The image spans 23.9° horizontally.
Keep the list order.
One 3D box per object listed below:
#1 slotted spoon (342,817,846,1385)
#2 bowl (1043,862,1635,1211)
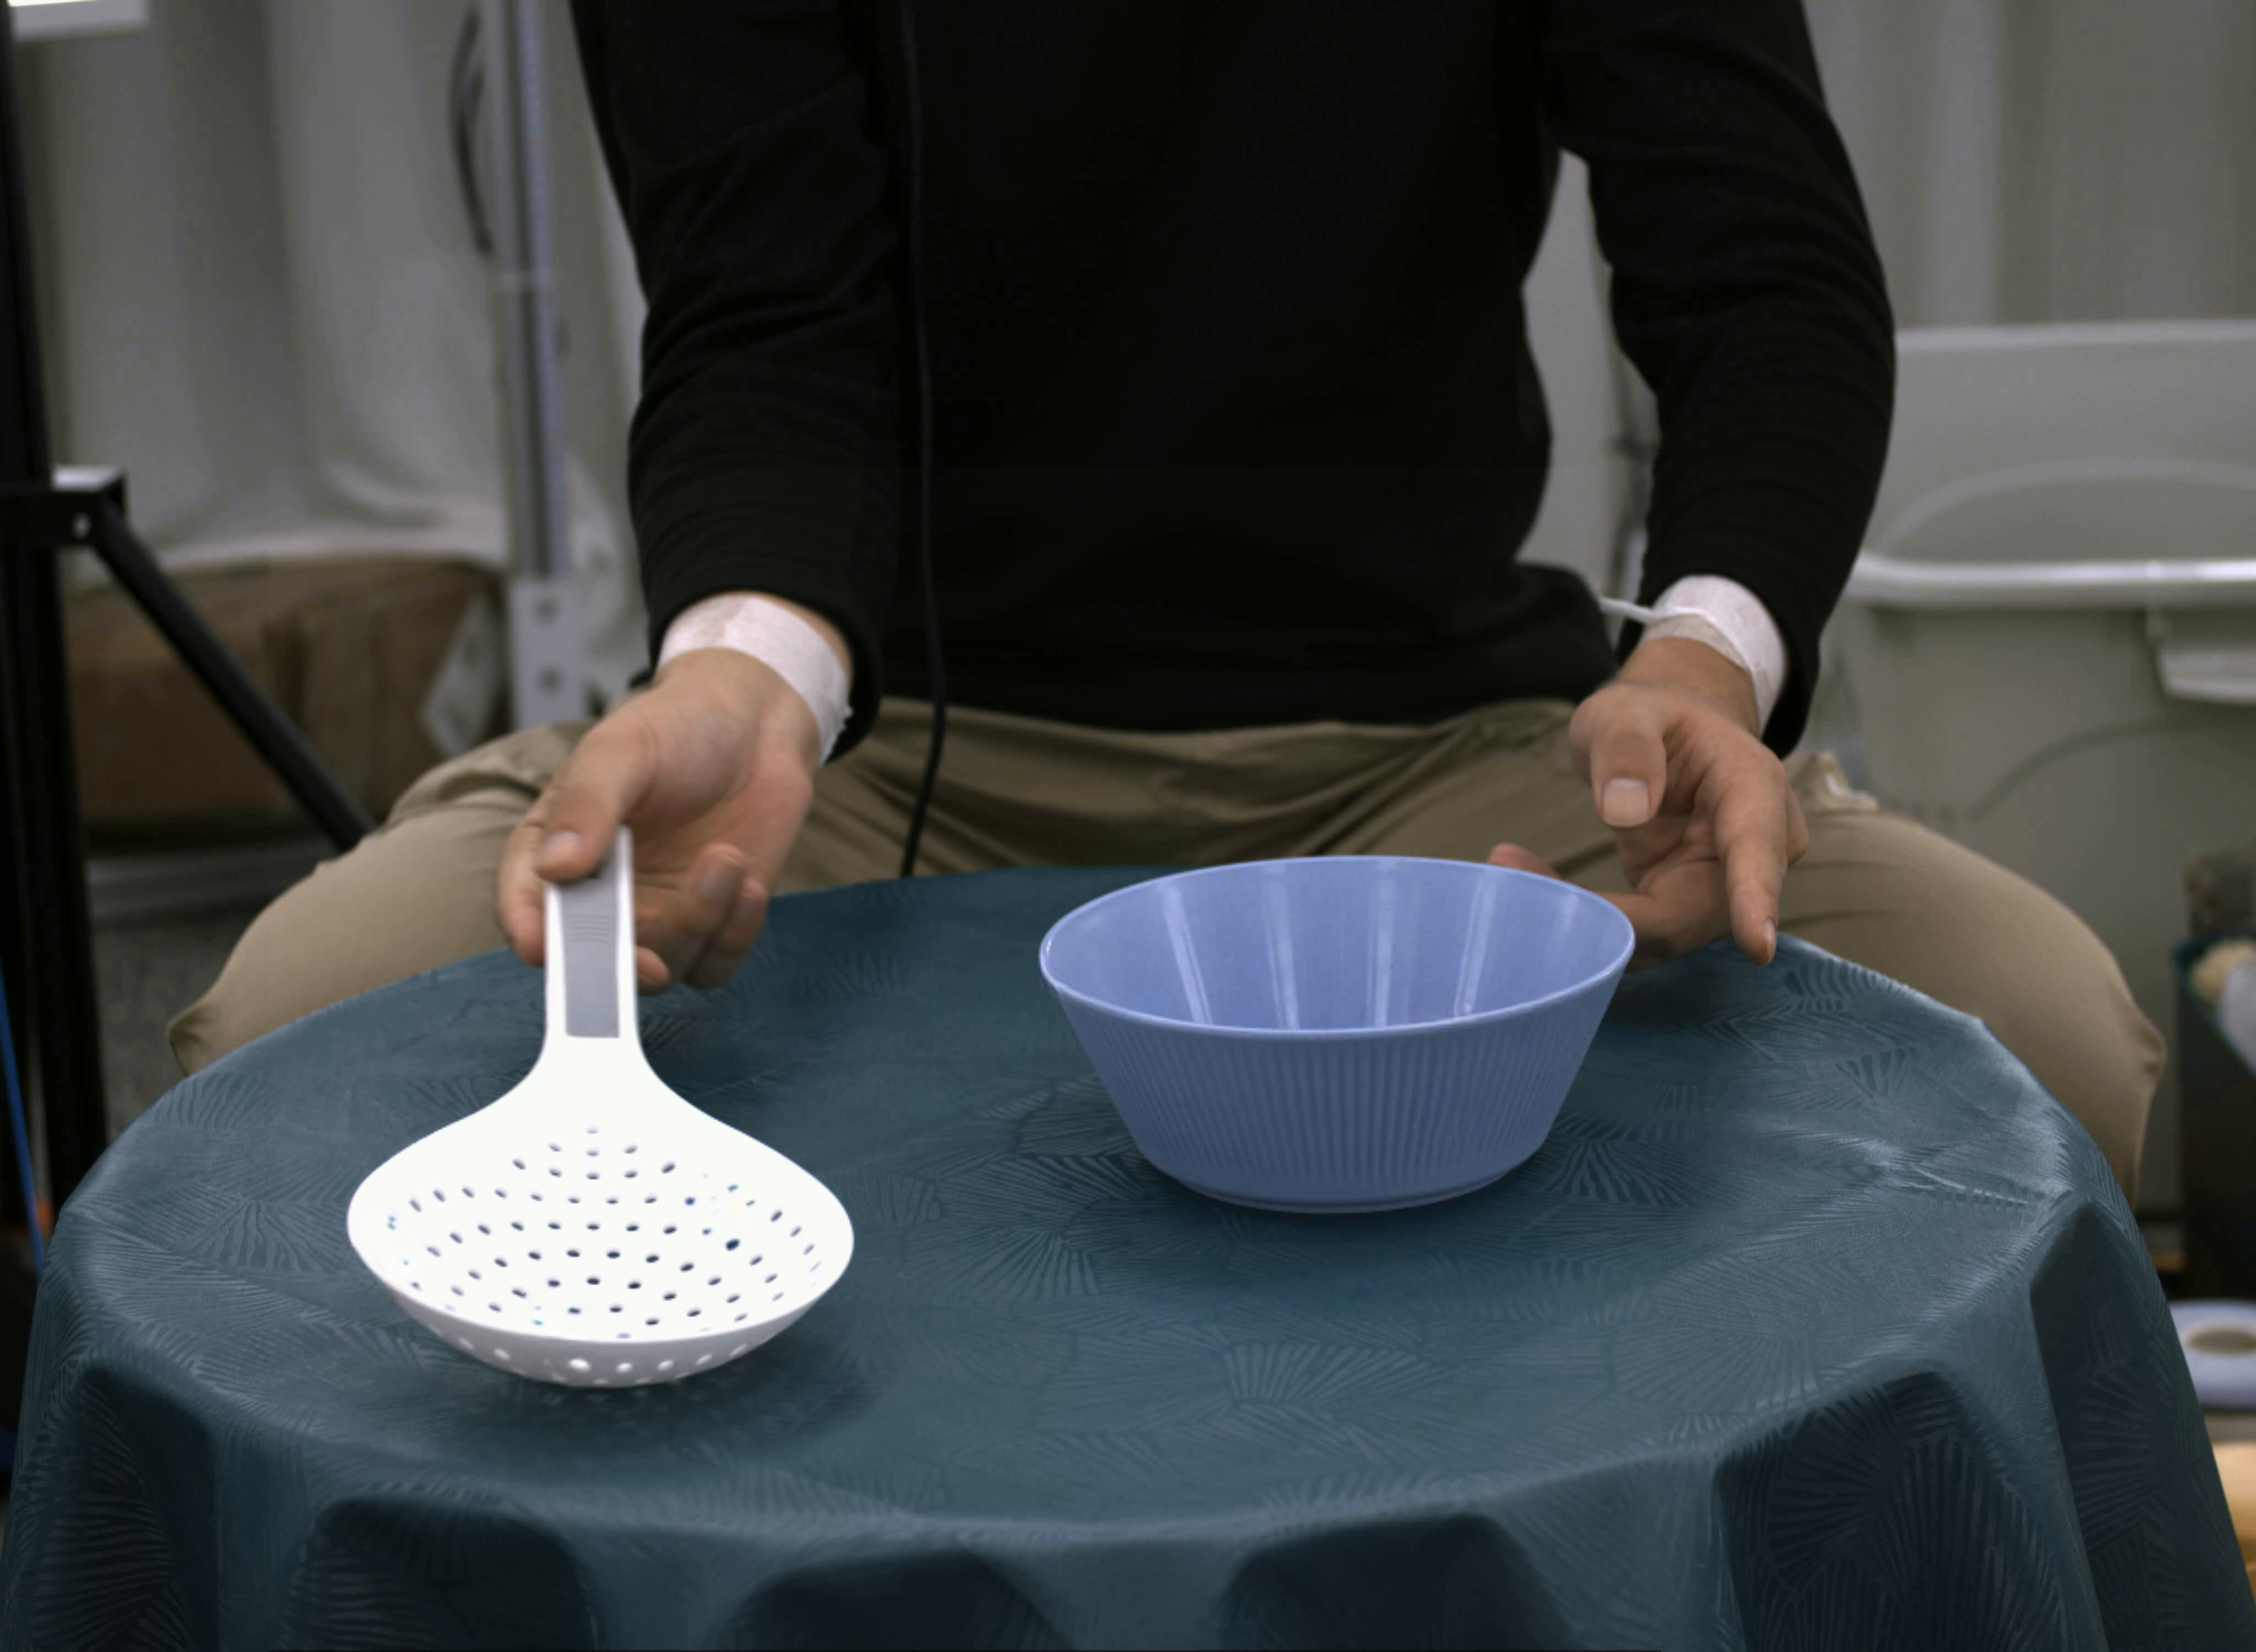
[{"bbox_3d":[-0.157,0.071,1.537,0.134,0.045,0.354,-1,27,-7],"label":"slotted spoon"},{"bbox_3d":[0.063,0.064,1.573,0.175,0.070,0.177,-3,15,-1],"label":"bowl"}]
